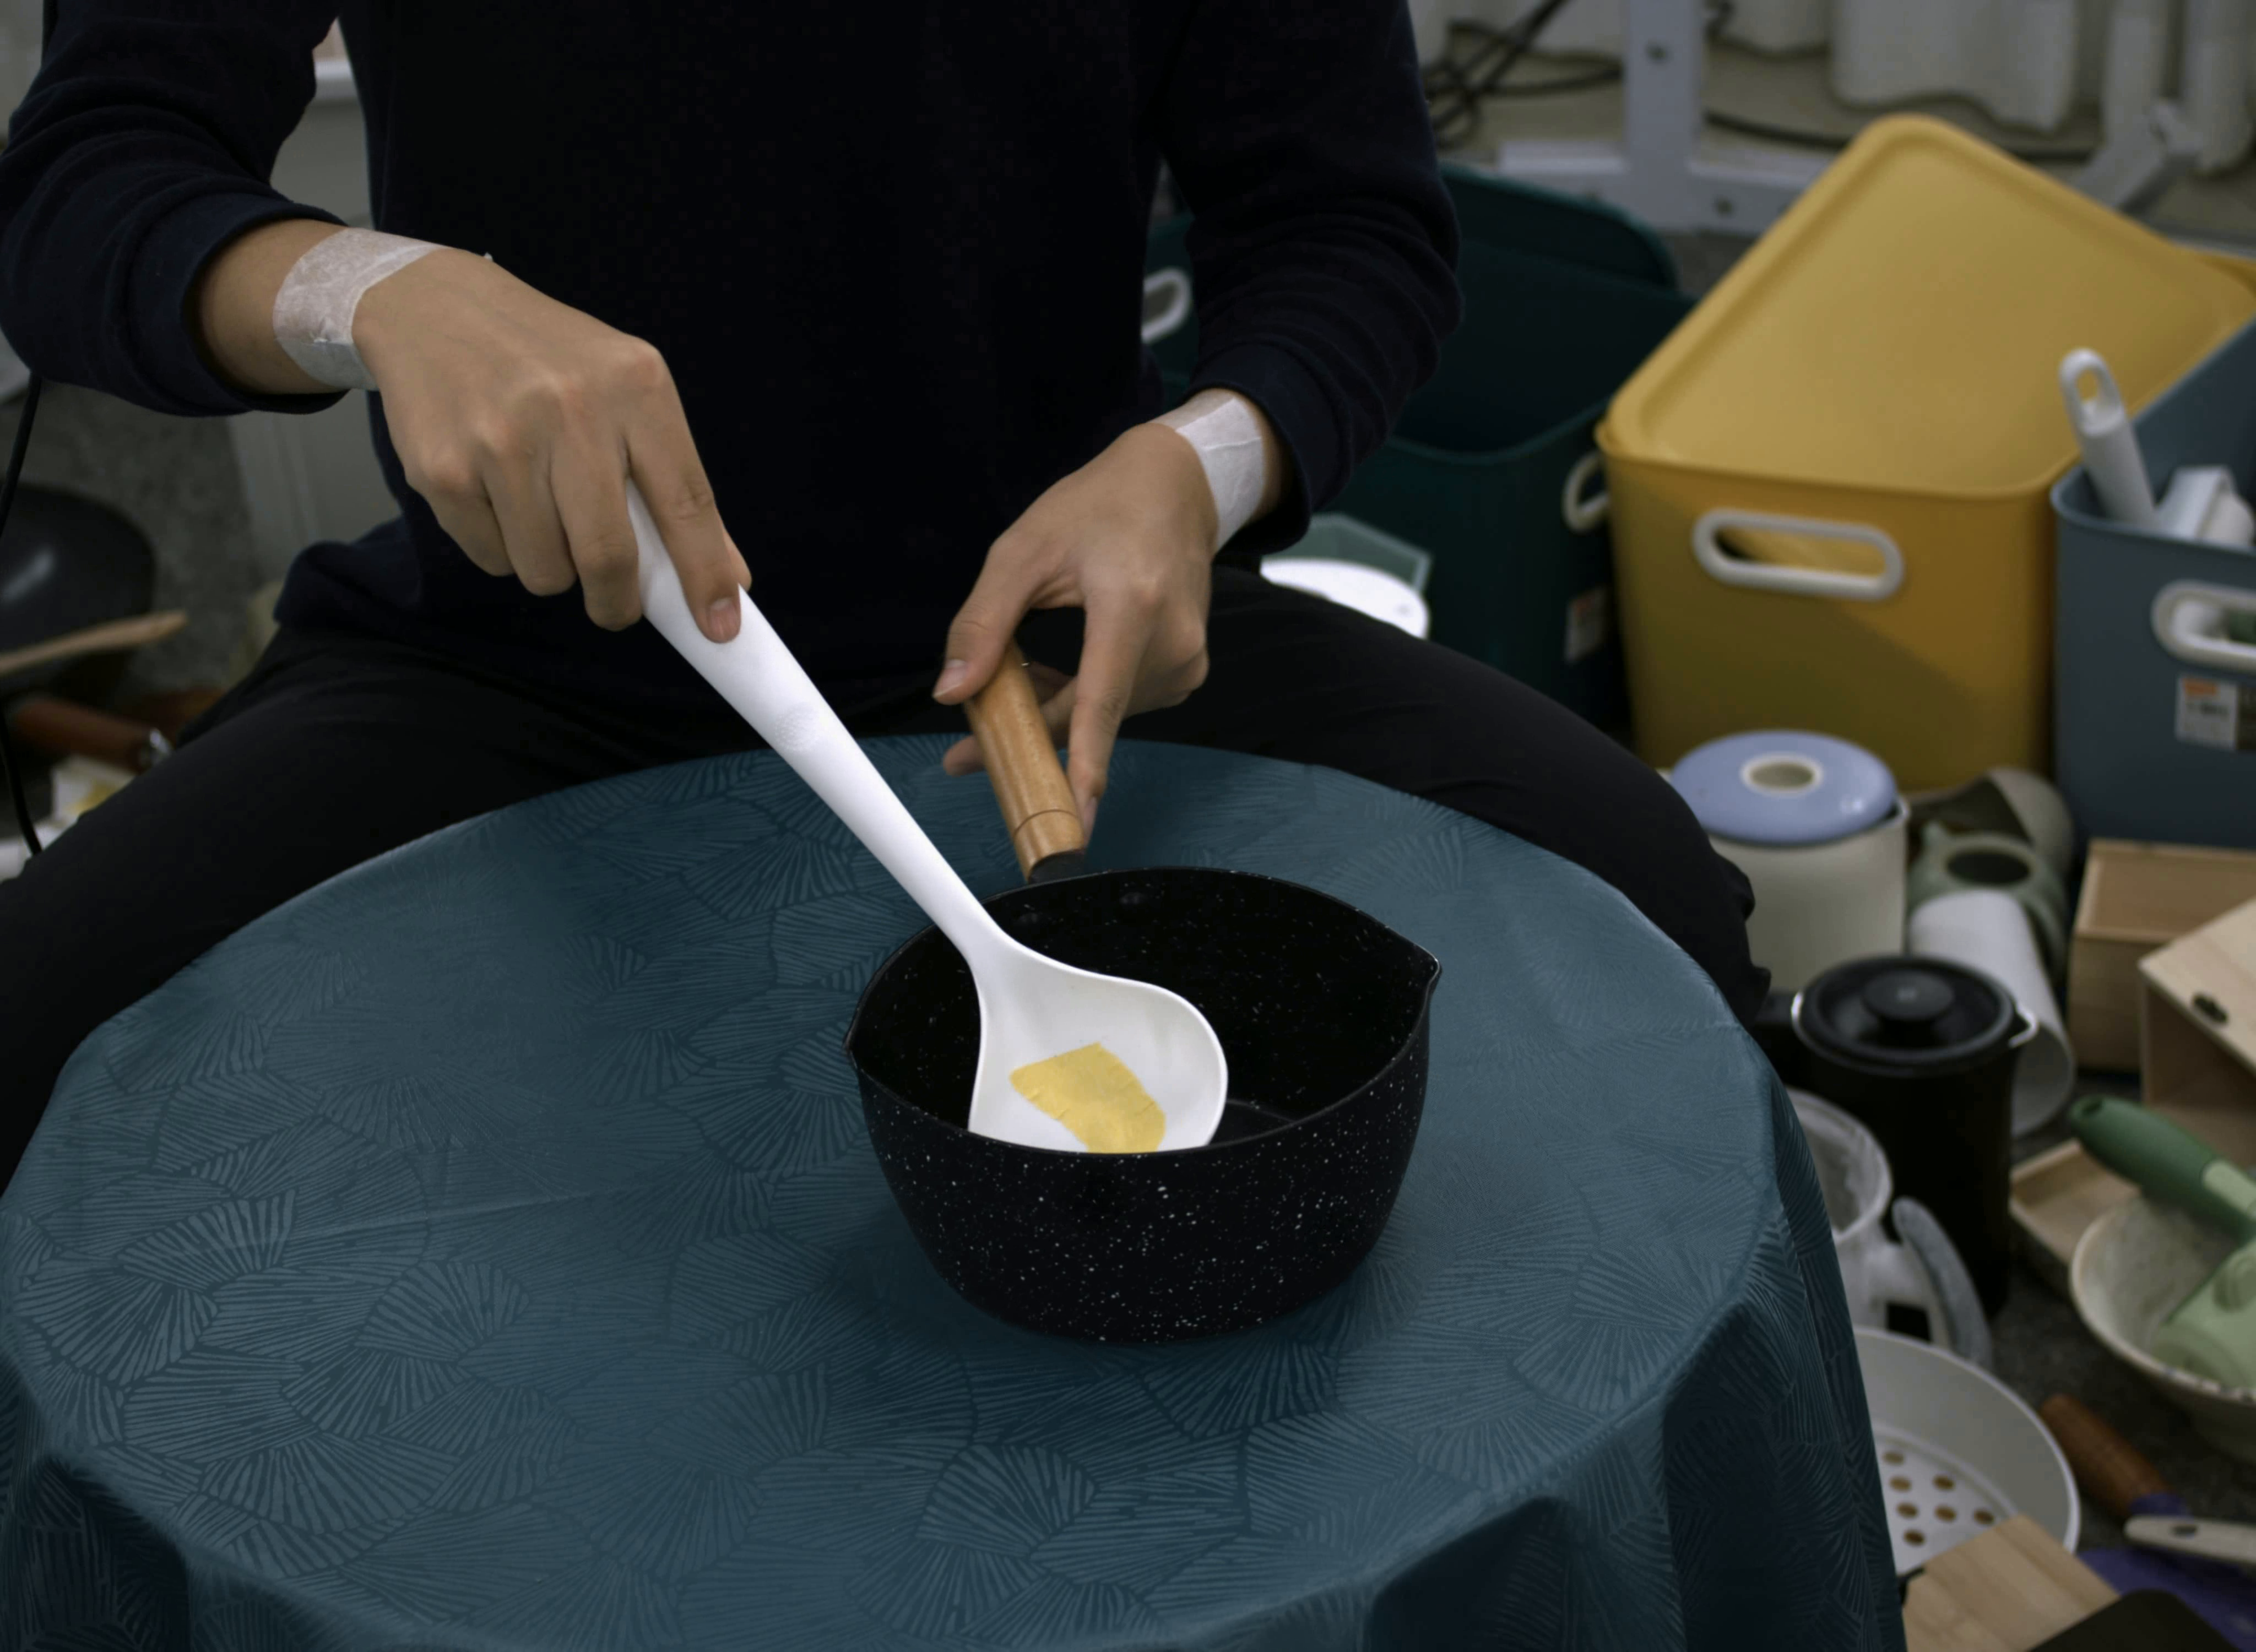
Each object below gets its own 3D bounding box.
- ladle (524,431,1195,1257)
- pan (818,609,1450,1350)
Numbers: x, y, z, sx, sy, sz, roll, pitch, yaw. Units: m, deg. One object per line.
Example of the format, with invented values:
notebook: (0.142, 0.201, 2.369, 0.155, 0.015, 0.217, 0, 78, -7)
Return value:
ladle: (-0.088, 0.003, 1.754, 0.089, 0.292, 0.070, -37, 7, 14)
pan: (-0.013, 0.048, 1.889, 0.207, 0.107, 0.347, -10, 30, -10)
